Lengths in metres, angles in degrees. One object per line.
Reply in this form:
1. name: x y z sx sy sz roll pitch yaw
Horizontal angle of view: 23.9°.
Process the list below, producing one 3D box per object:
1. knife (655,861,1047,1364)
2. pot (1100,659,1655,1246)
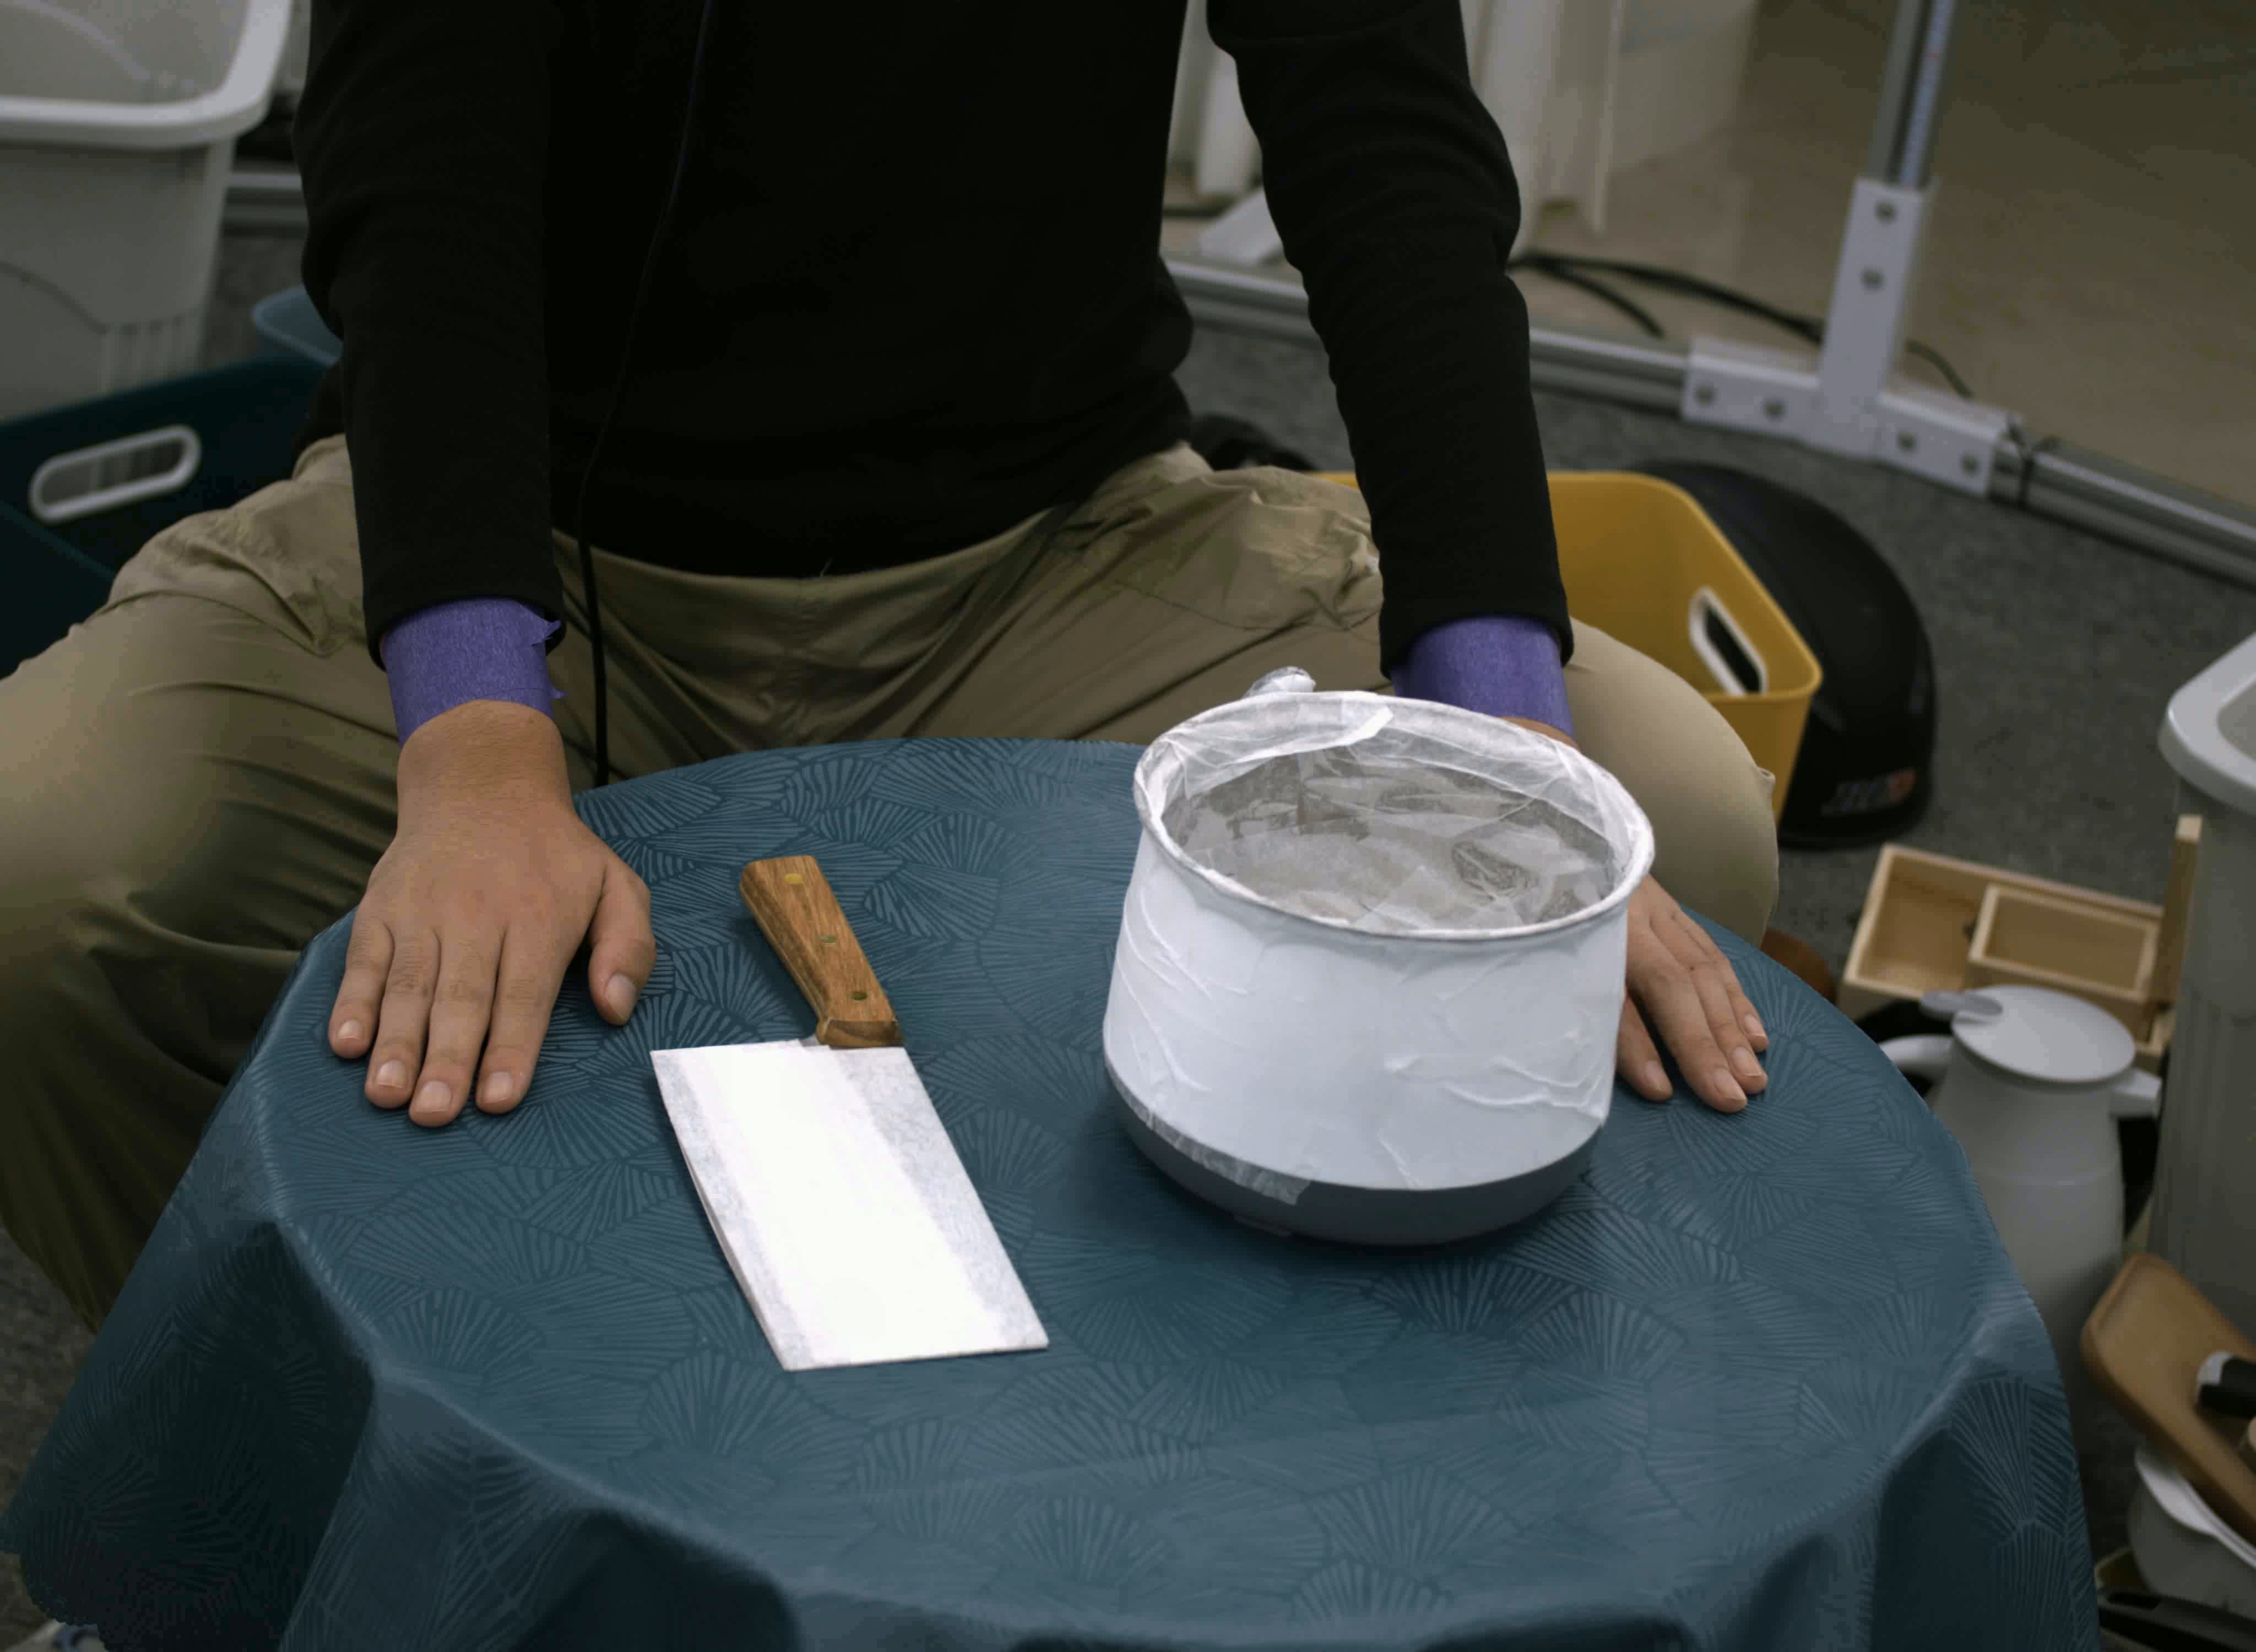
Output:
1. knife: -0.110 0.095 1.822 0.092 0.021 0.308 -3 30 -18
2. pot: 0.073 0.036 1.839 0.177 0.136 0.236 -4 29 -21
